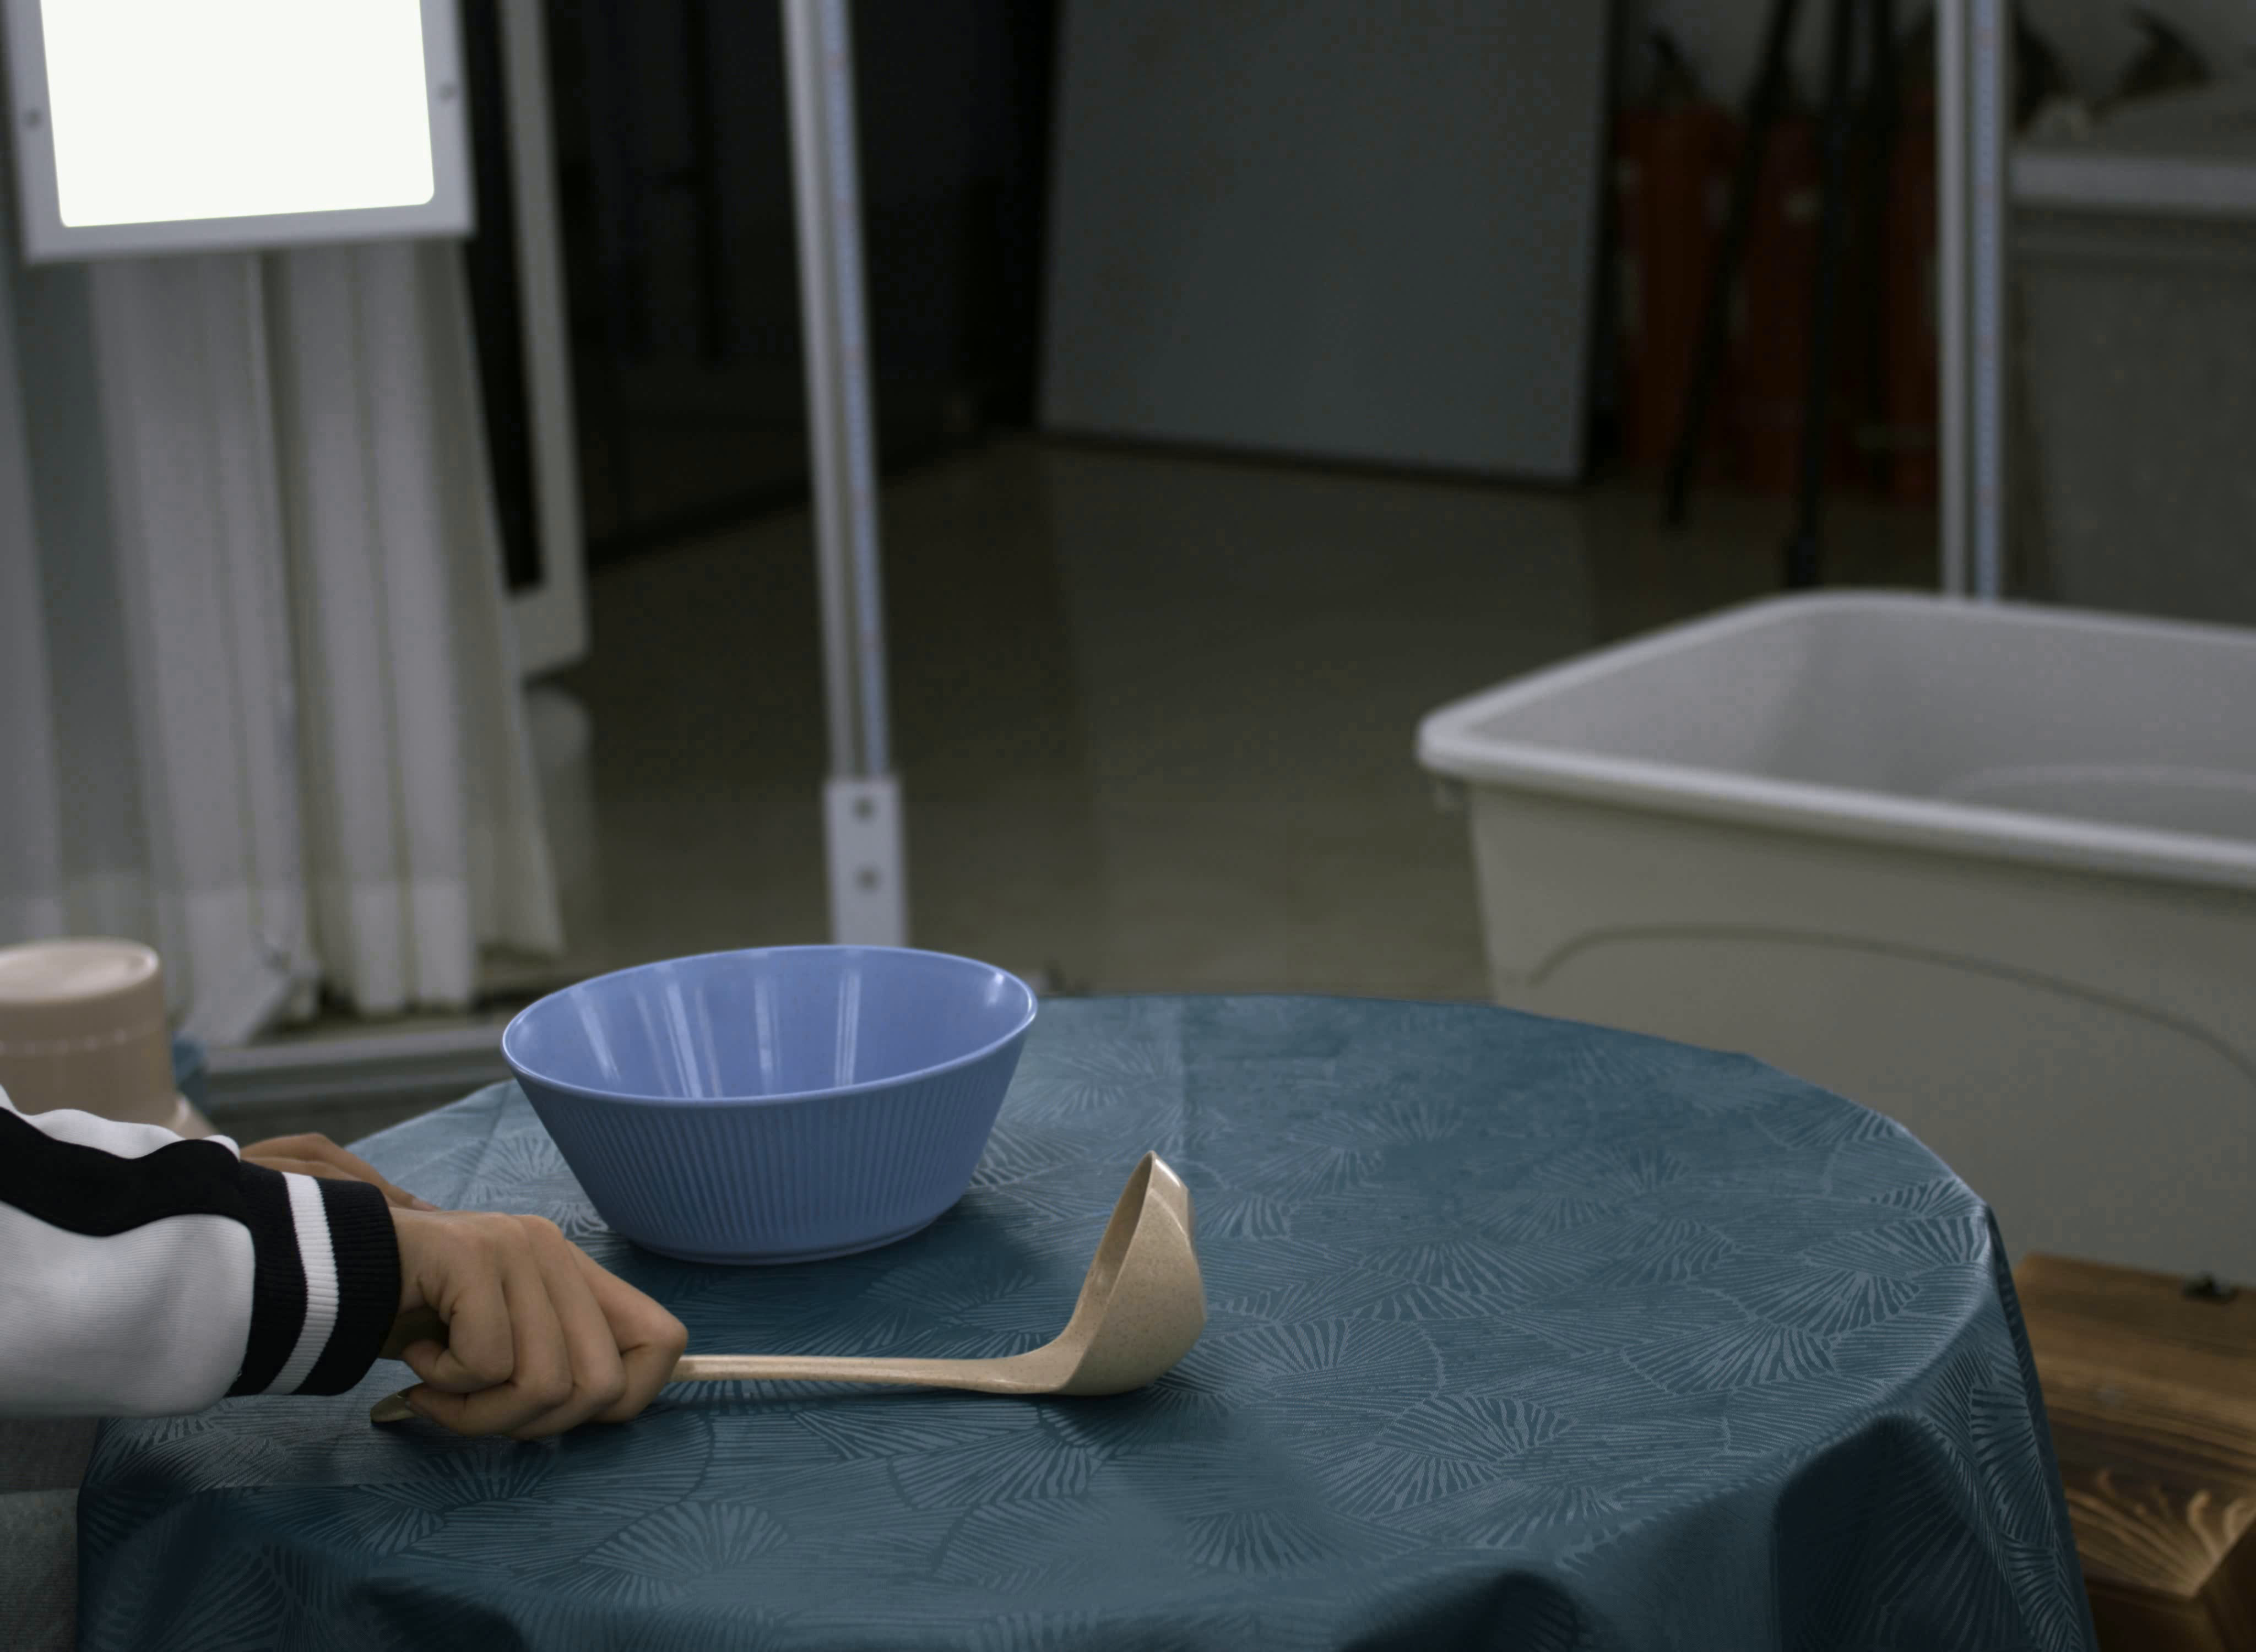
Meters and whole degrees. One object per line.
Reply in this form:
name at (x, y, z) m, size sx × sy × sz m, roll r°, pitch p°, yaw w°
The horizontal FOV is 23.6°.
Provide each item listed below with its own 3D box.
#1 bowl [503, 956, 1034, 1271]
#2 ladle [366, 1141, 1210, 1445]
bowl at (-0.114, 0.096, 1.761) m, size 0.174 × 0.071 × 0.176 m, roll -4°, pitch 13°, yaw 0°
ladle at (-0.102, 0.137, 1.585) m, size 0.251 × 0.073 × 0.072 m, roll -4°, pitch 18°, yaw 2°
